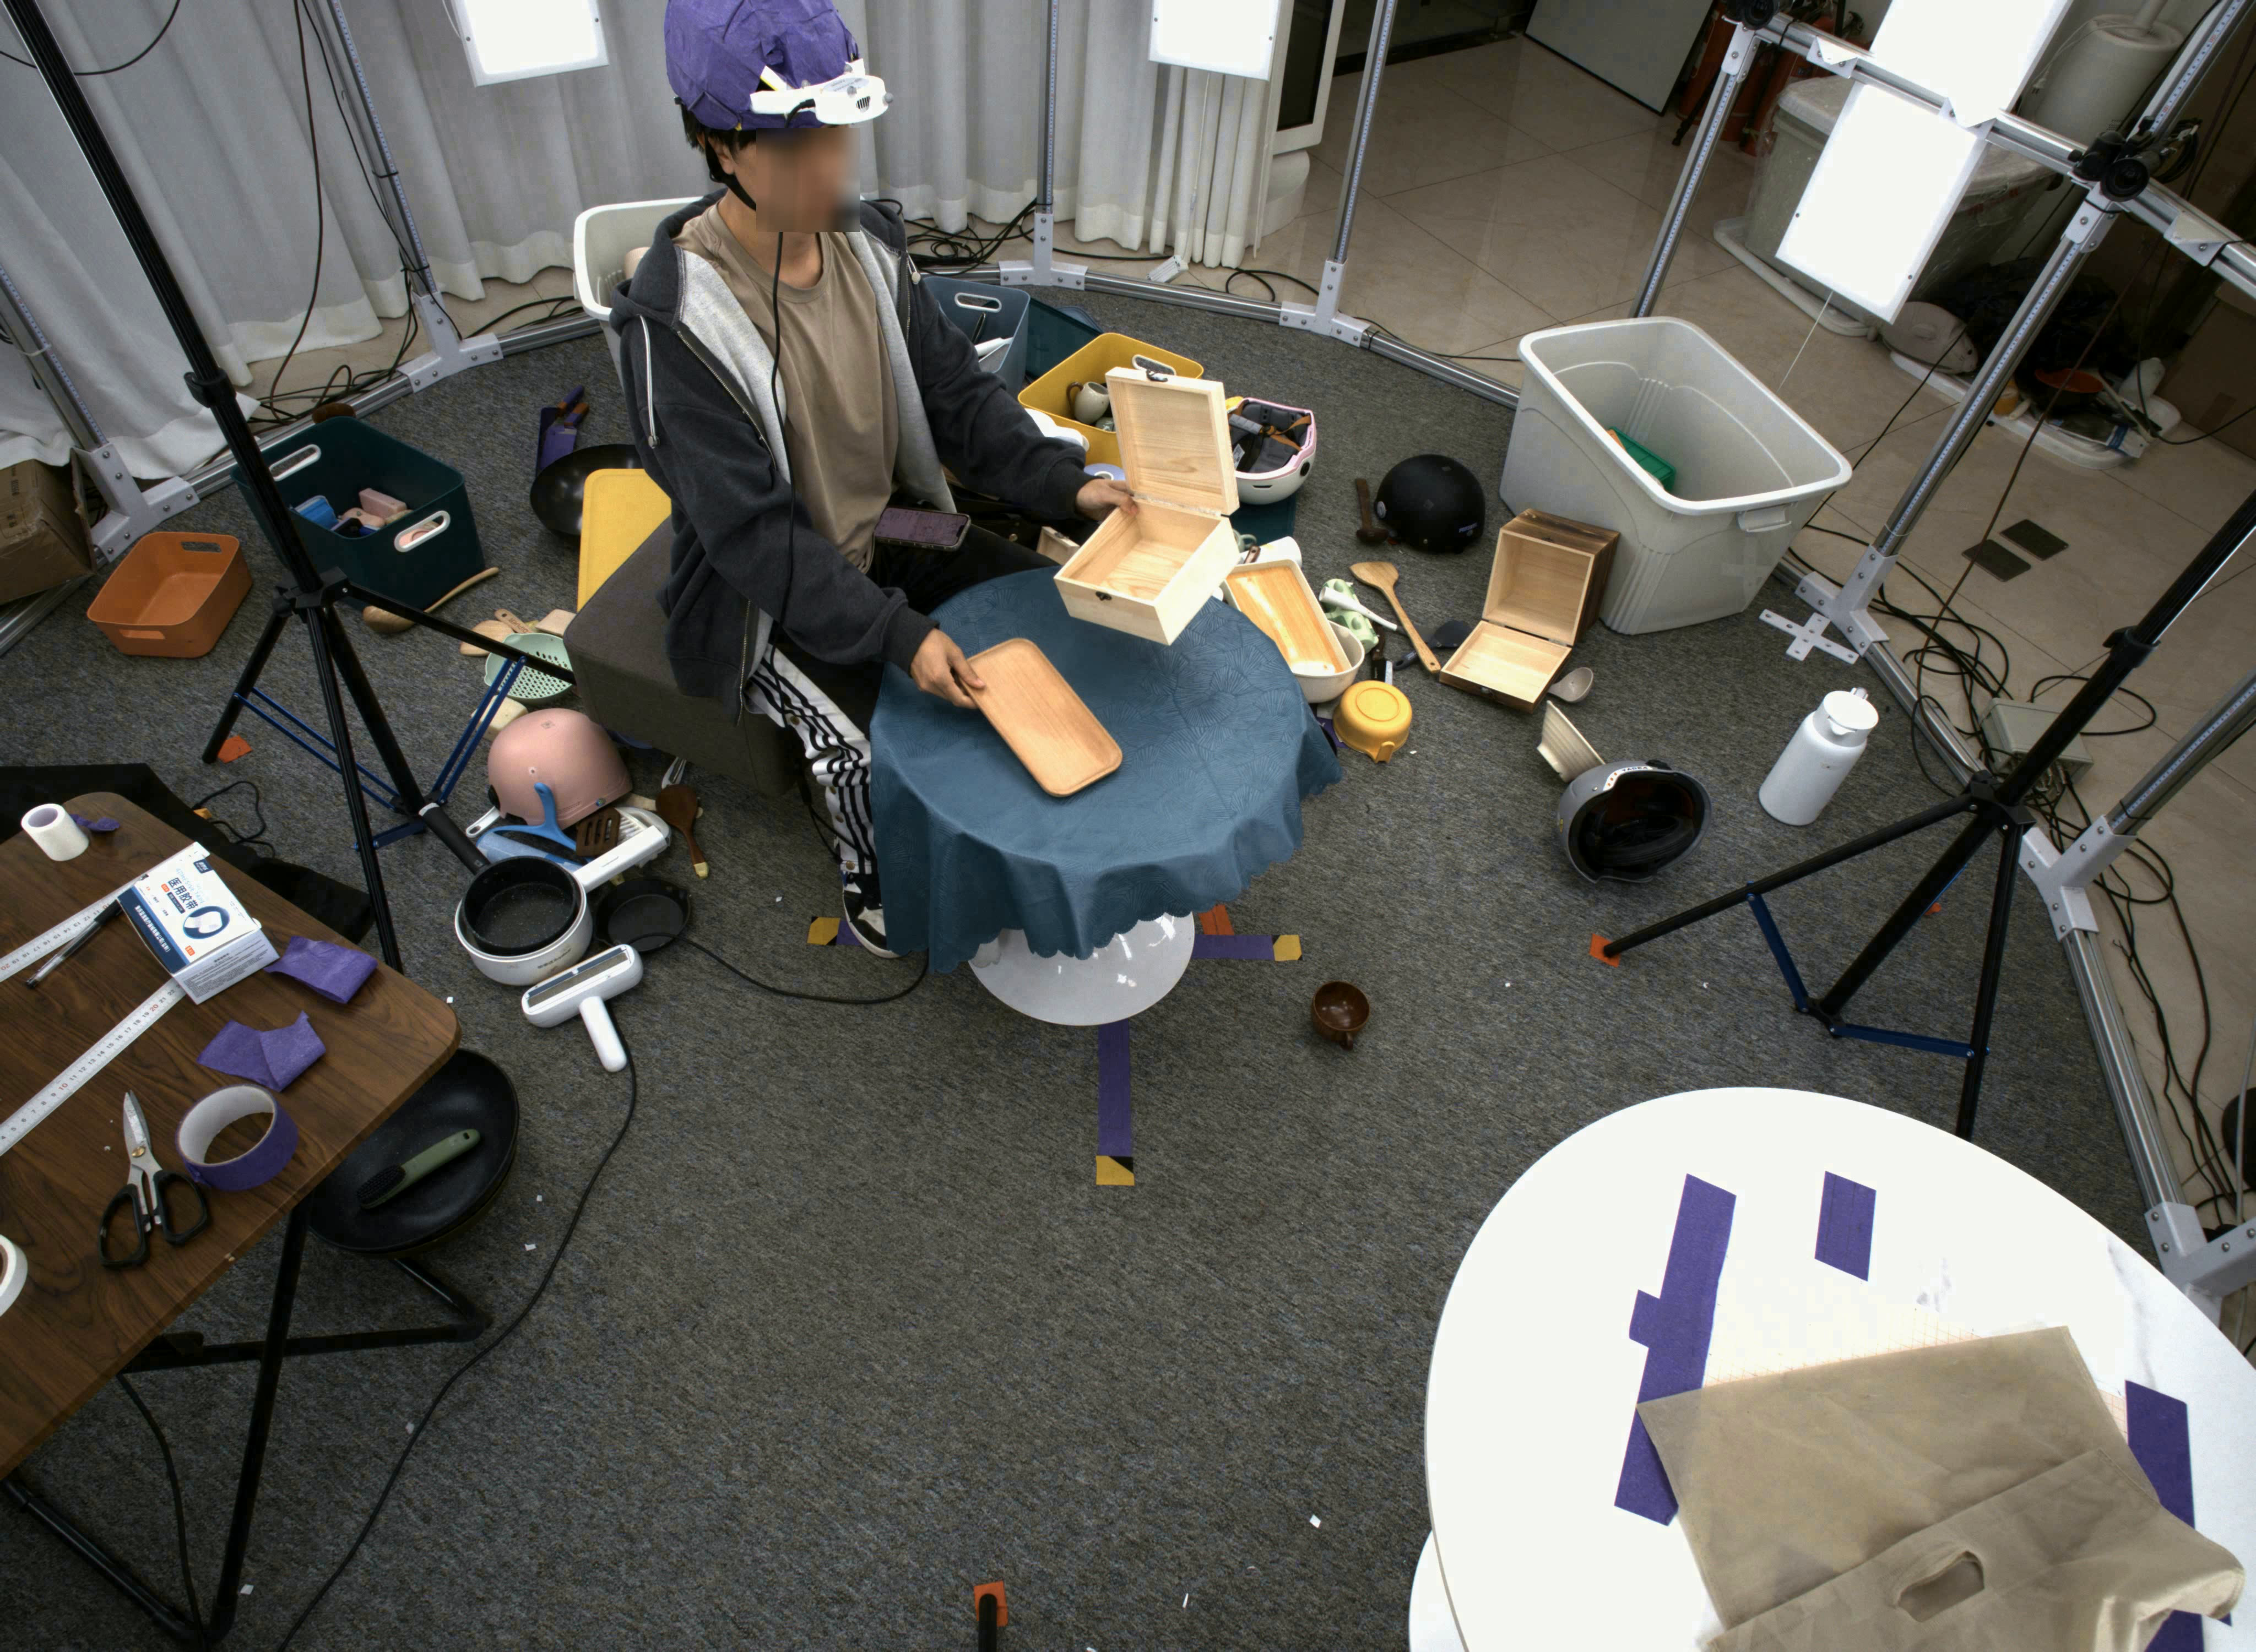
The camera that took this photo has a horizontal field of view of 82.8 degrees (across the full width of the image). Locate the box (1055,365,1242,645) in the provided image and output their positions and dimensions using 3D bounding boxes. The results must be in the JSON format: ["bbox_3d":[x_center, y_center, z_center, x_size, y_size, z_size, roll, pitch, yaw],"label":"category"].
[{"bbox_3d":[0.022,-0.436,1.746,0.184,0.247,0.268,18,58,37],"label":"box"}]

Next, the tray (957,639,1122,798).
[{"bbox_3d":[-0.122,-0.148,1.747,0.131,0.022,0.254,-27,65,-28],"label":"tray"}]
